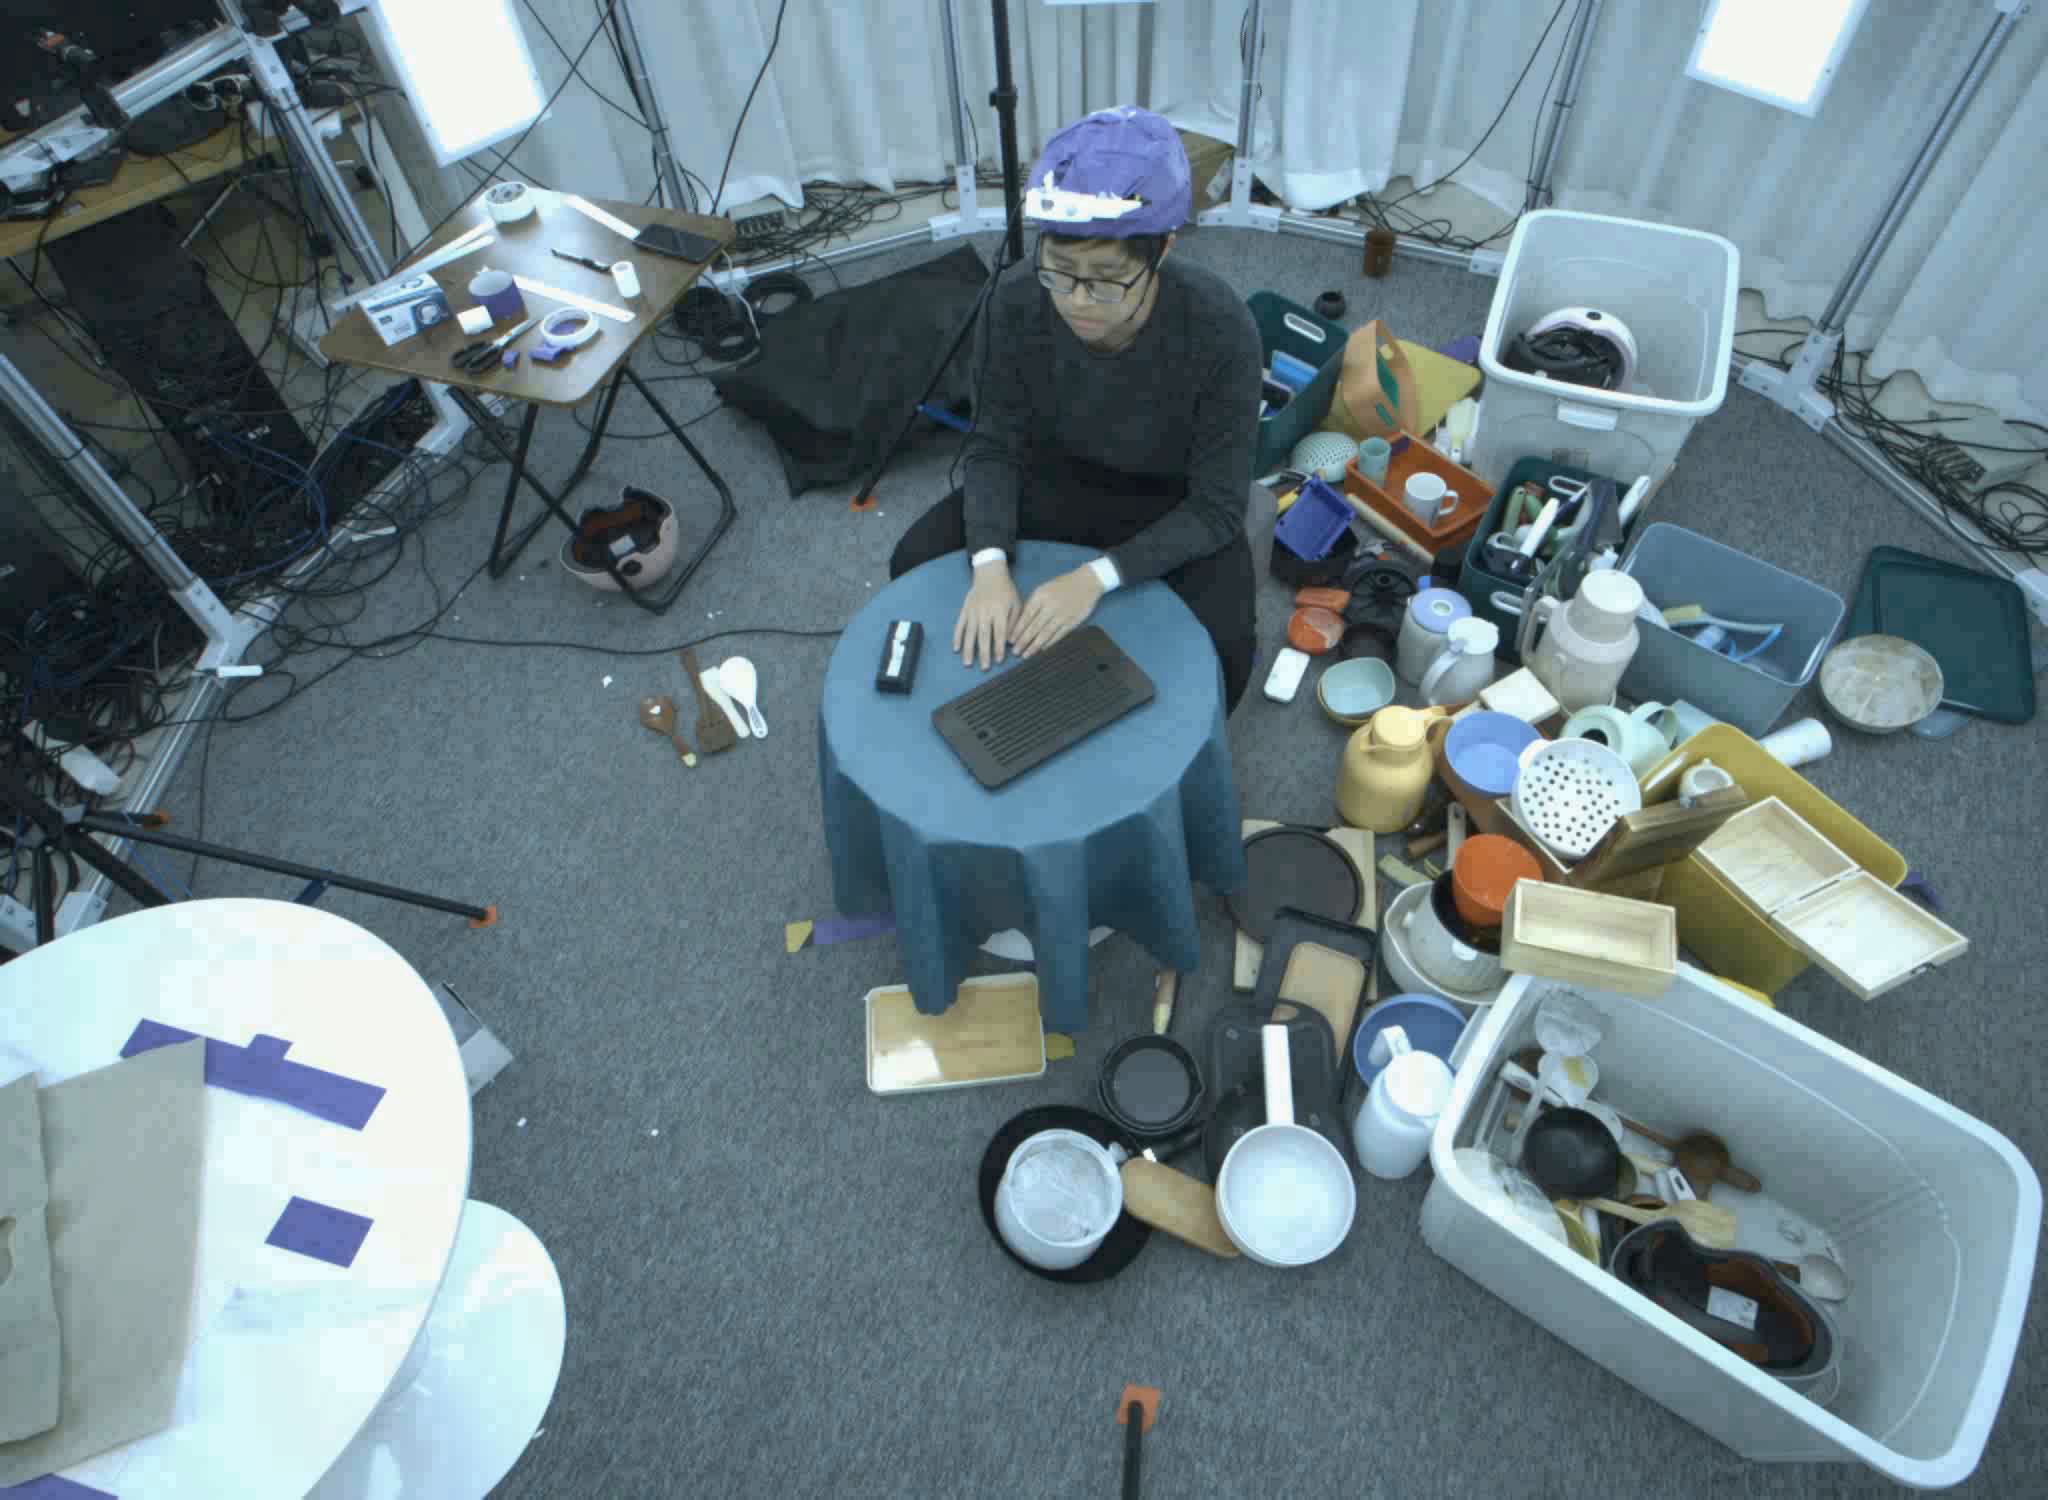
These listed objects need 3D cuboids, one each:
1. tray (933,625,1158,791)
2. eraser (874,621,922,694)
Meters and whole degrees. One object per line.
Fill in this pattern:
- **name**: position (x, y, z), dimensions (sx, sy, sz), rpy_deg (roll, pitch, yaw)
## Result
- **tray**: position (0.032, -0.066, 1.822), dimensions (0.308, 0.019, 0.167), rpy_deg (-30, 59, -18)
- **eraser**: position (-0.192, -0.143, 1.878), dimensions (0.053, 0.031, 0.124), rpy_deg (5, 54, 3)
